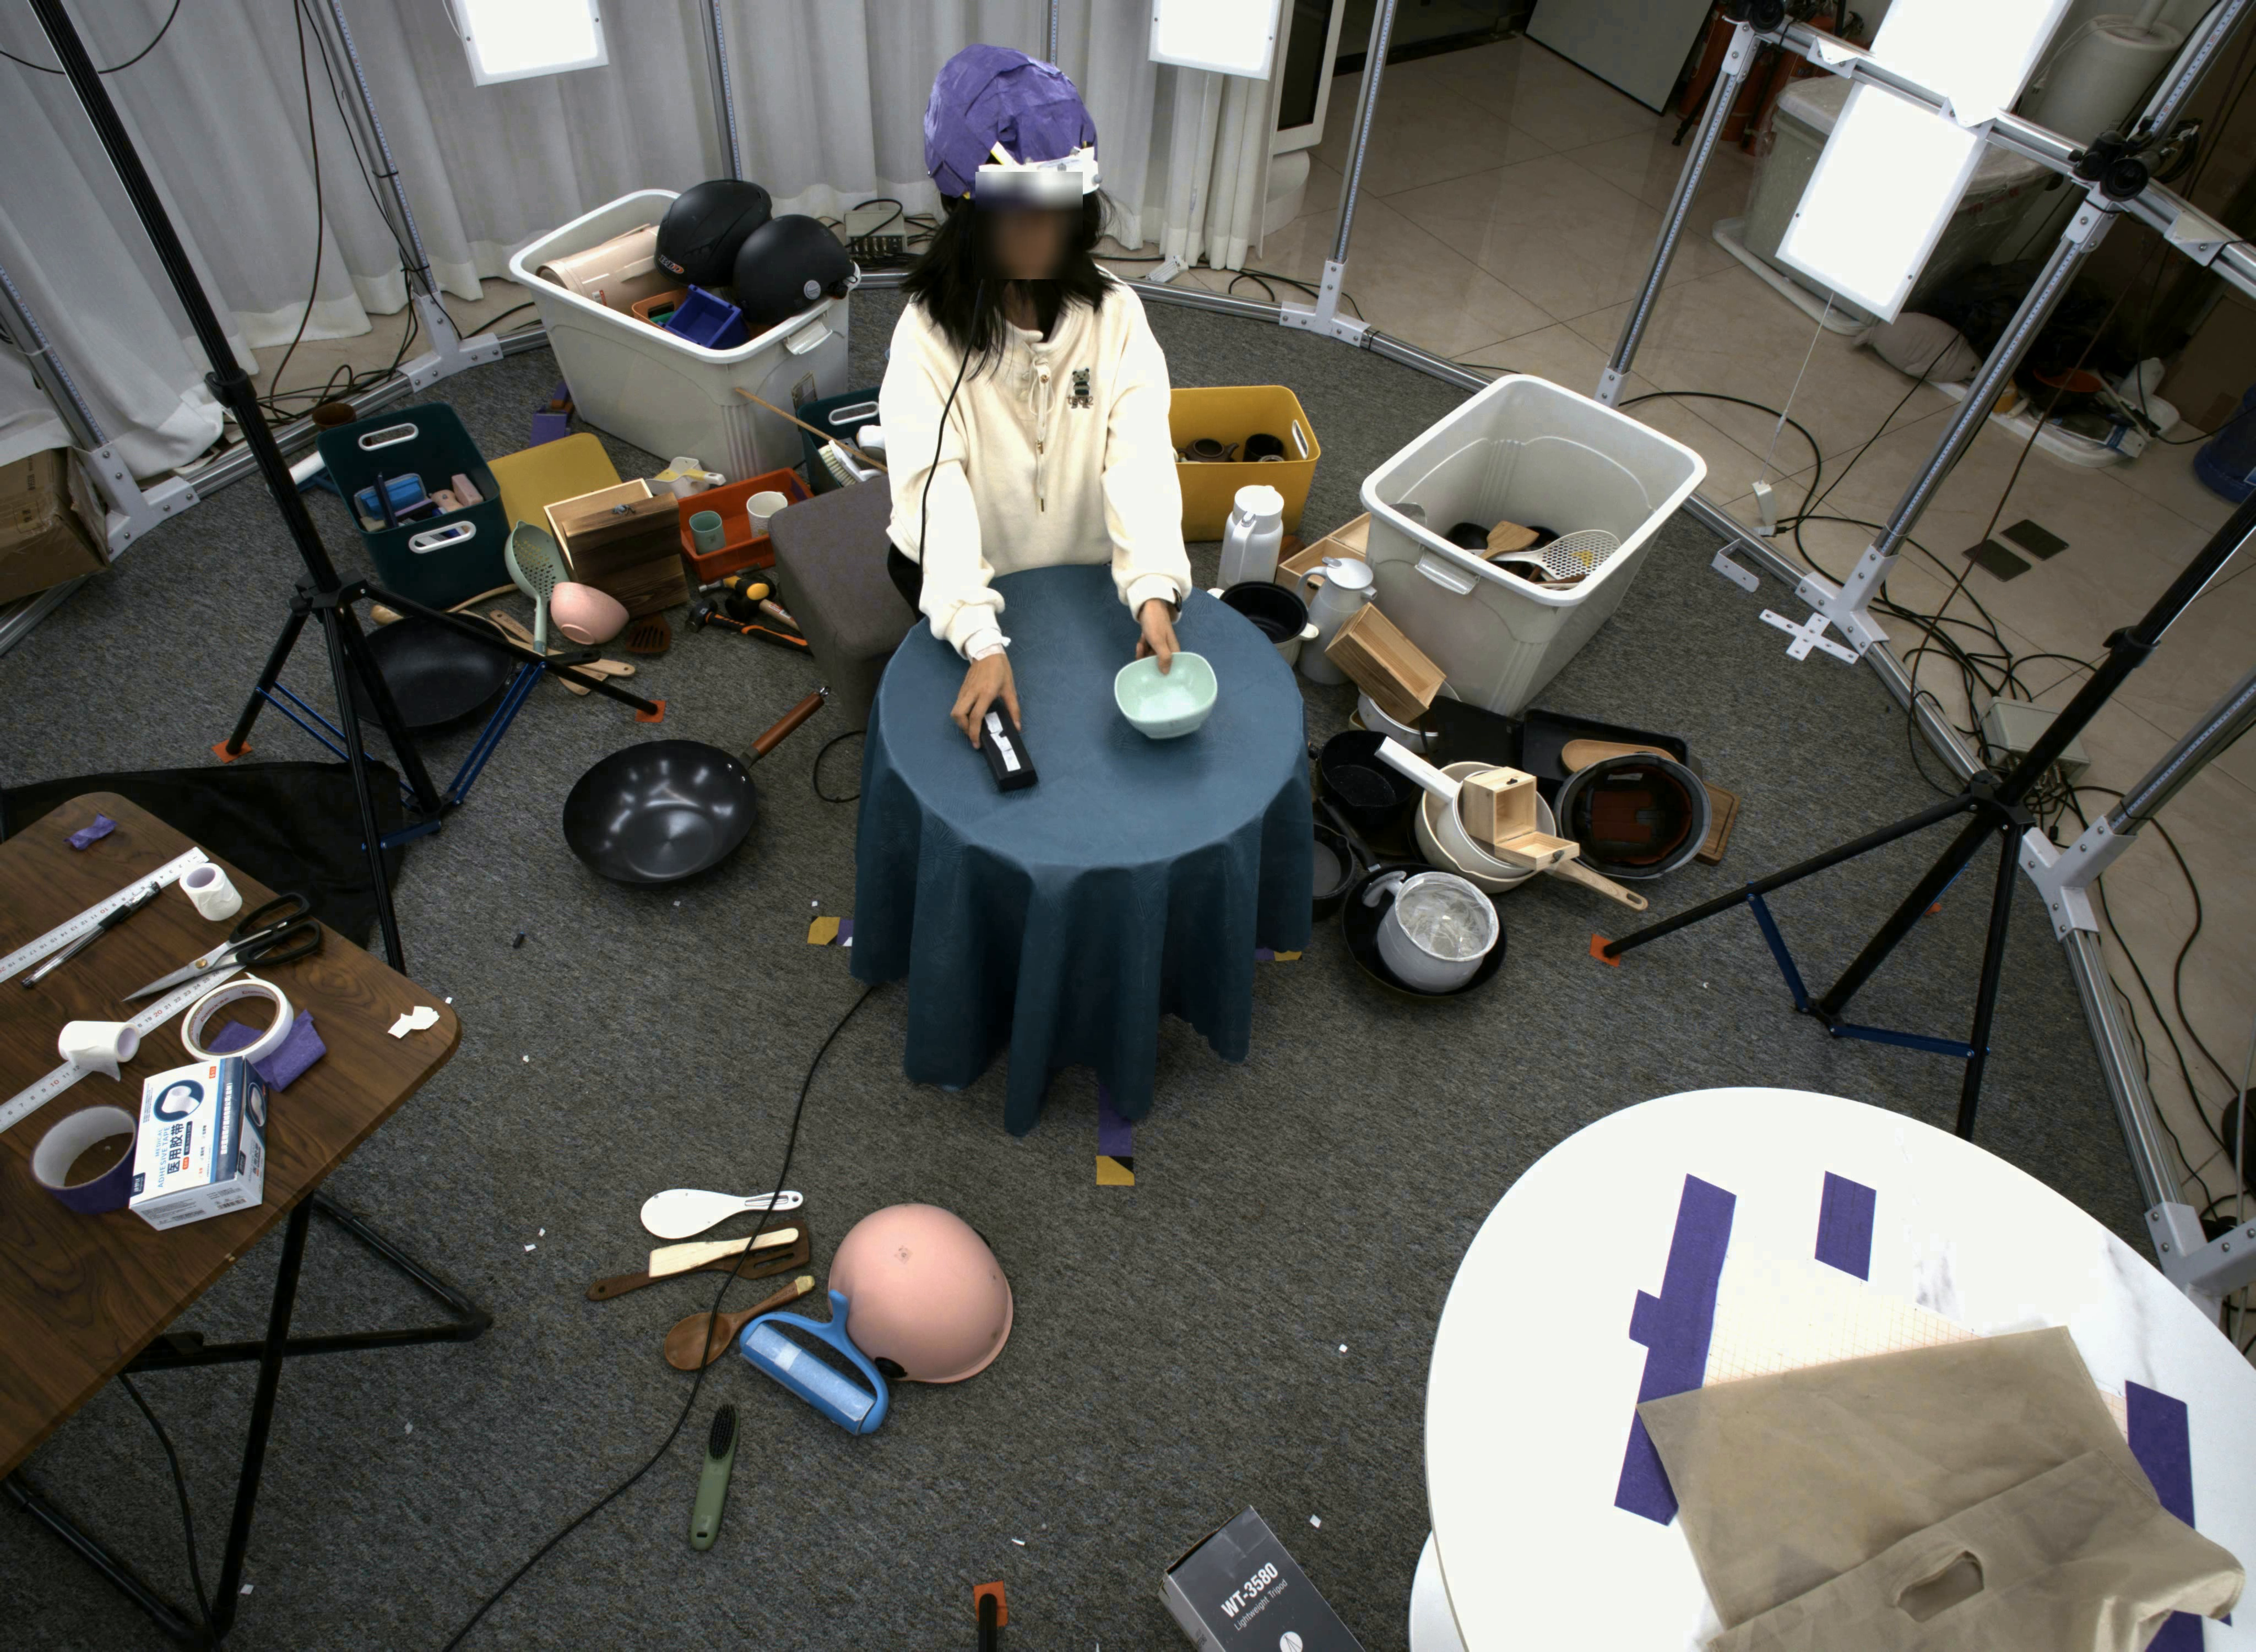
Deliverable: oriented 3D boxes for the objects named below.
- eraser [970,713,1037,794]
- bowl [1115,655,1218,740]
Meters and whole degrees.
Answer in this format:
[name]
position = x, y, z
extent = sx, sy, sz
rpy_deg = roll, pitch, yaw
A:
[eraser]
position = -0.168, -0.099, 1.726
extent = 0.053, 0.030, 0.128
rpy_deg = -16, 50, -15
[bowl]
position = 0.054, -0.169, 1.771
extent = 0.151, 0.057, 0.155
rpy_deg = -2, 48, 2
